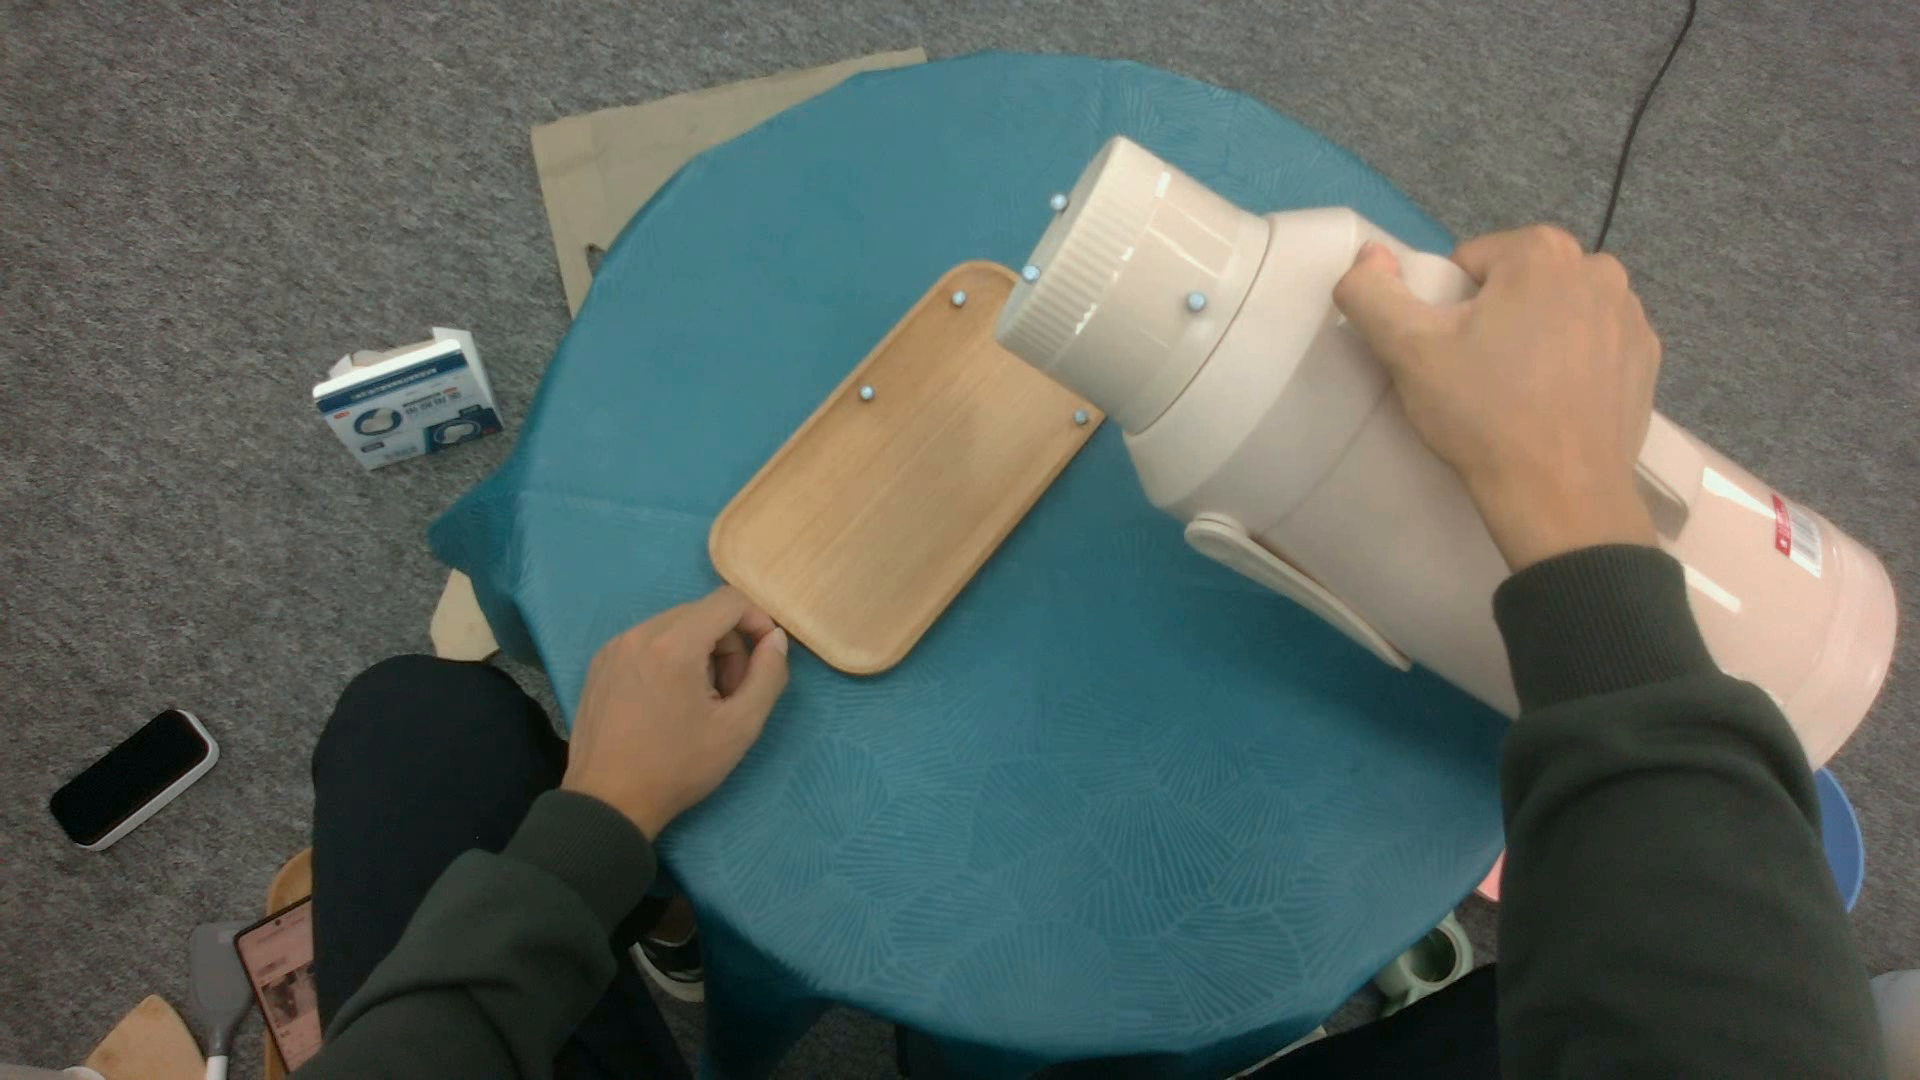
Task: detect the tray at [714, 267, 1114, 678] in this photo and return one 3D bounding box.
[{"bbox_3d":[-0.018,-0.043,0.780,0.130,0.023,0.251,37,72,12],"label":"tray"}]

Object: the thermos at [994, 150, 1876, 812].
[{"bbox_3d":[0.217,-0.034,0.640,0.406,0.206,0.176,31,71,-8],"label":"thermos"}]
